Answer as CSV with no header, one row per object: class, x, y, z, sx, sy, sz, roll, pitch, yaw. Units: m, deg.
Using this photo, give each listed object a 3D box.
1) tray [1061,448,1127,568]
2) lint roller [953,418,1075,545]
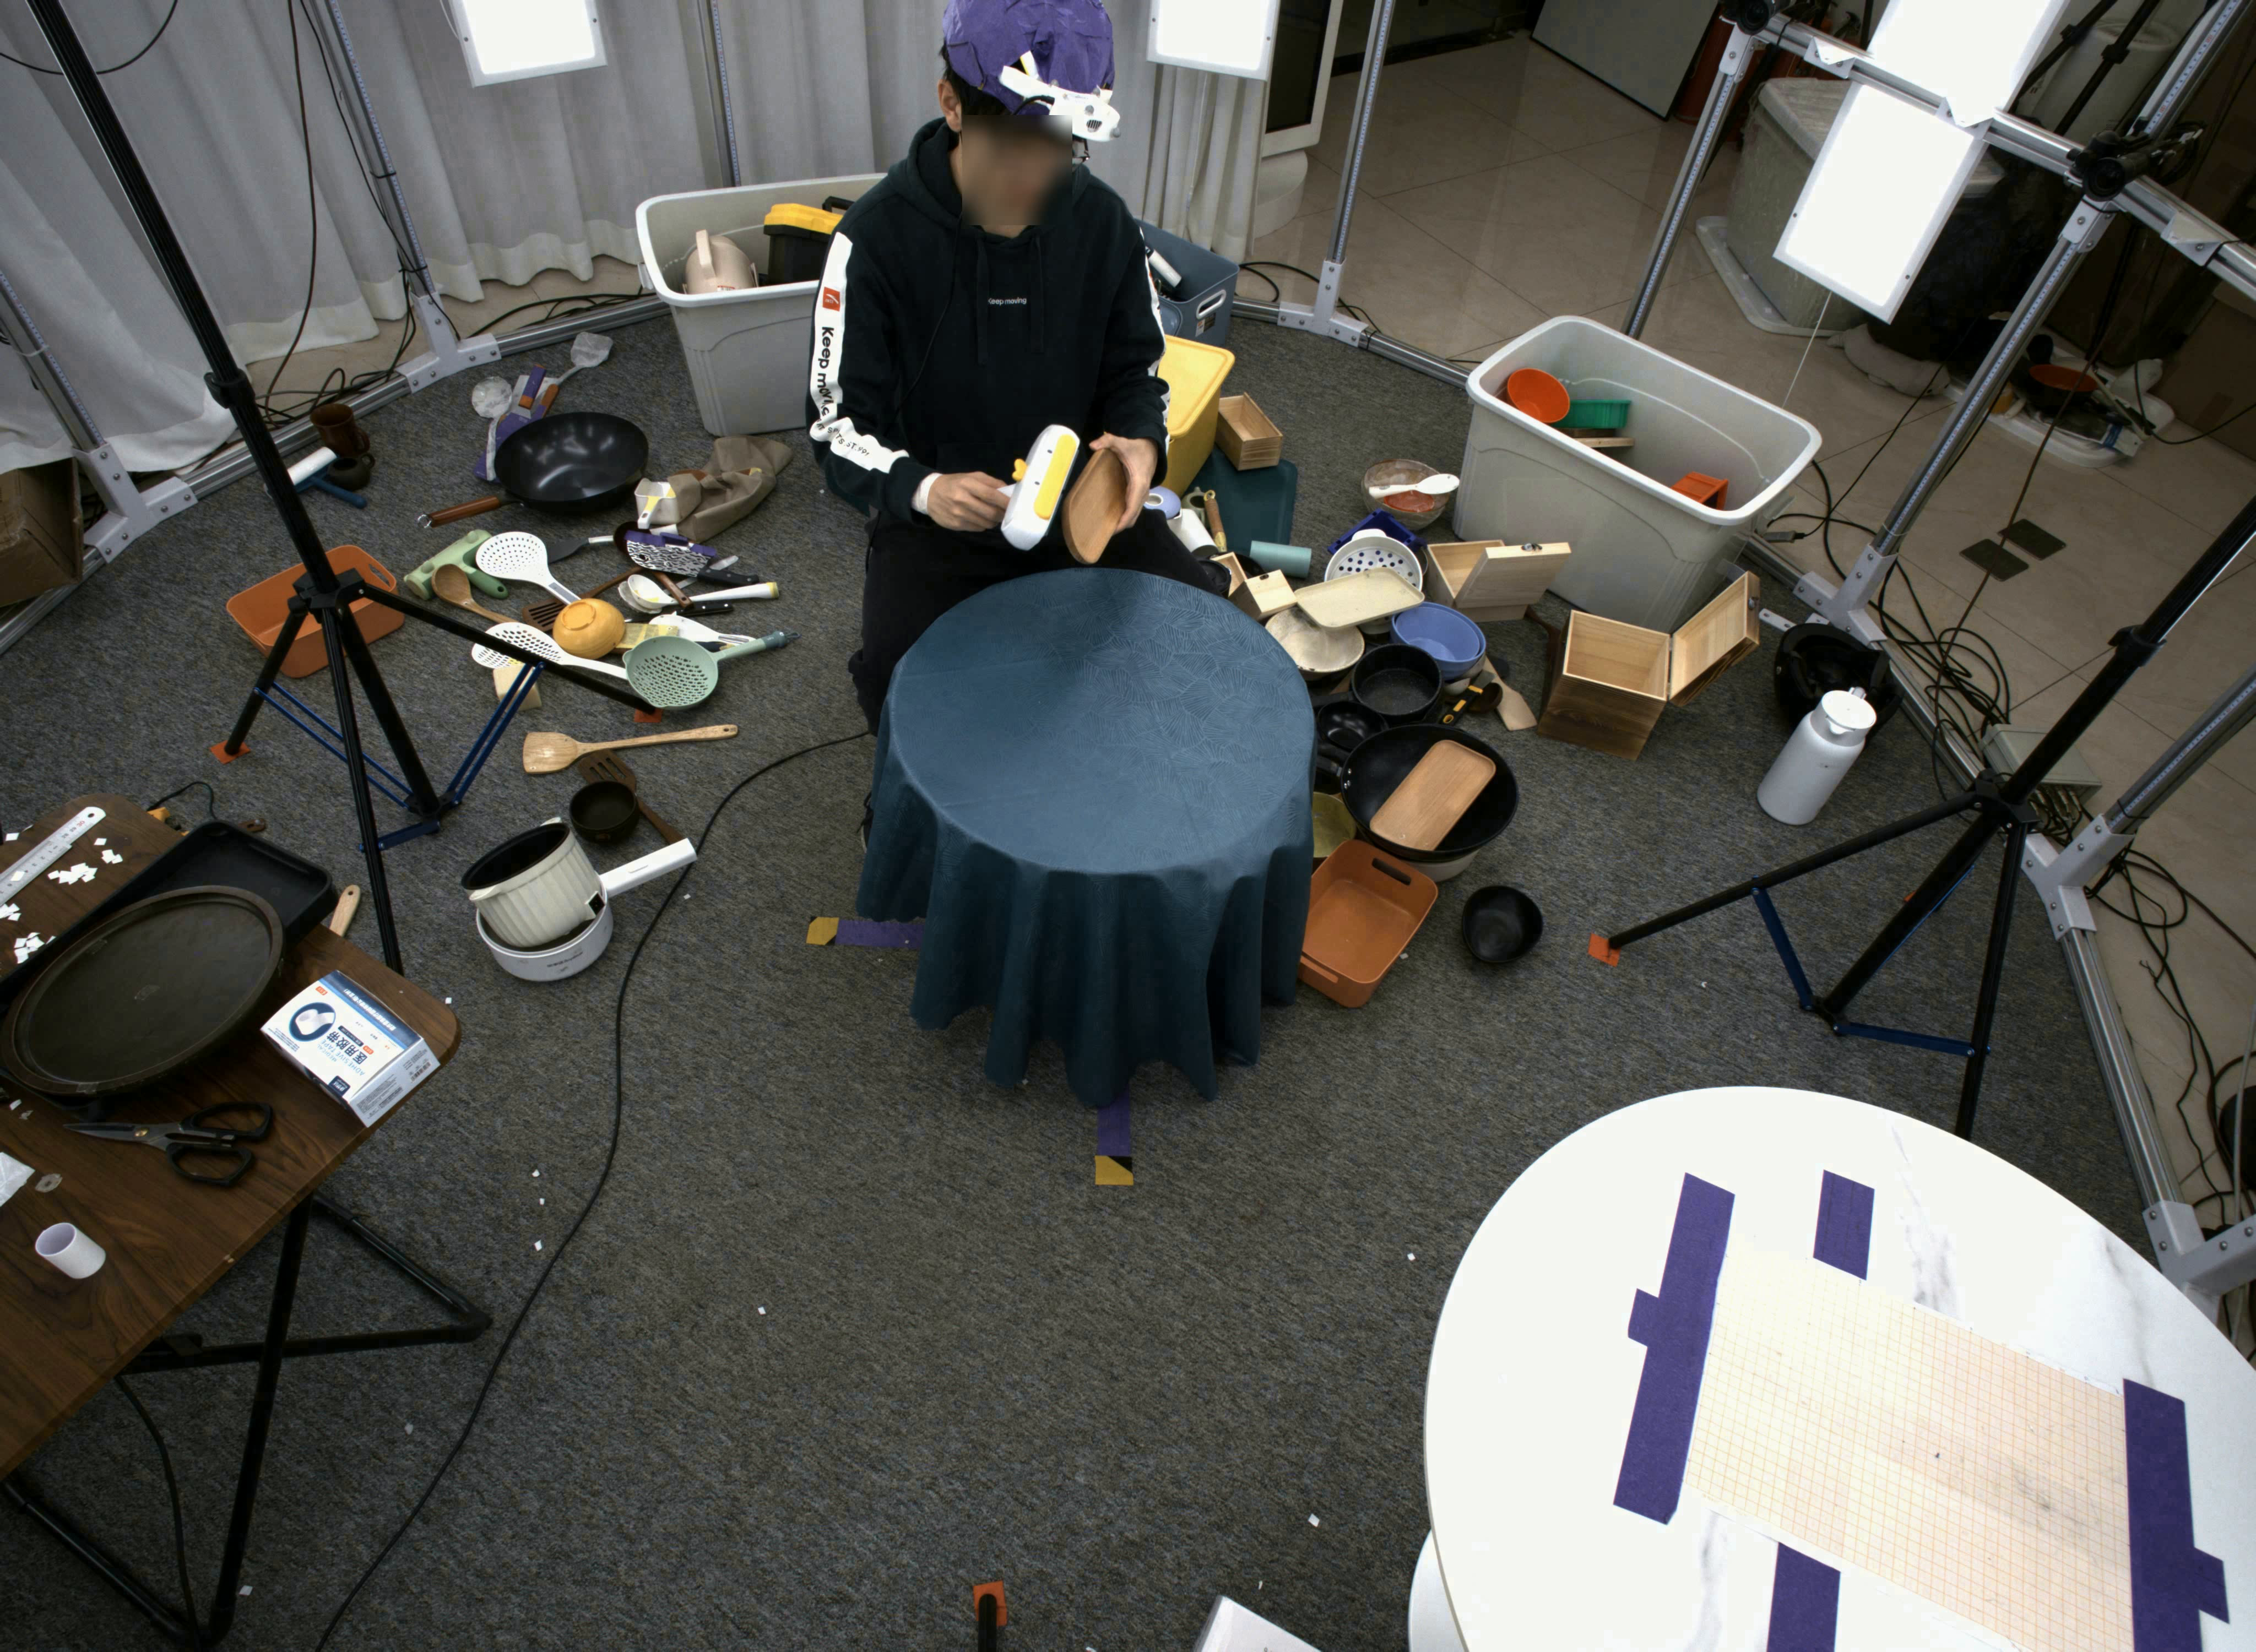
tray,-0.046,-0.447,1.808,0.020,0.099,0.236,-7,37,27
lint roller,-0.160,-0.447,1.752,0.073,0.191,0.197,30,57,-32
